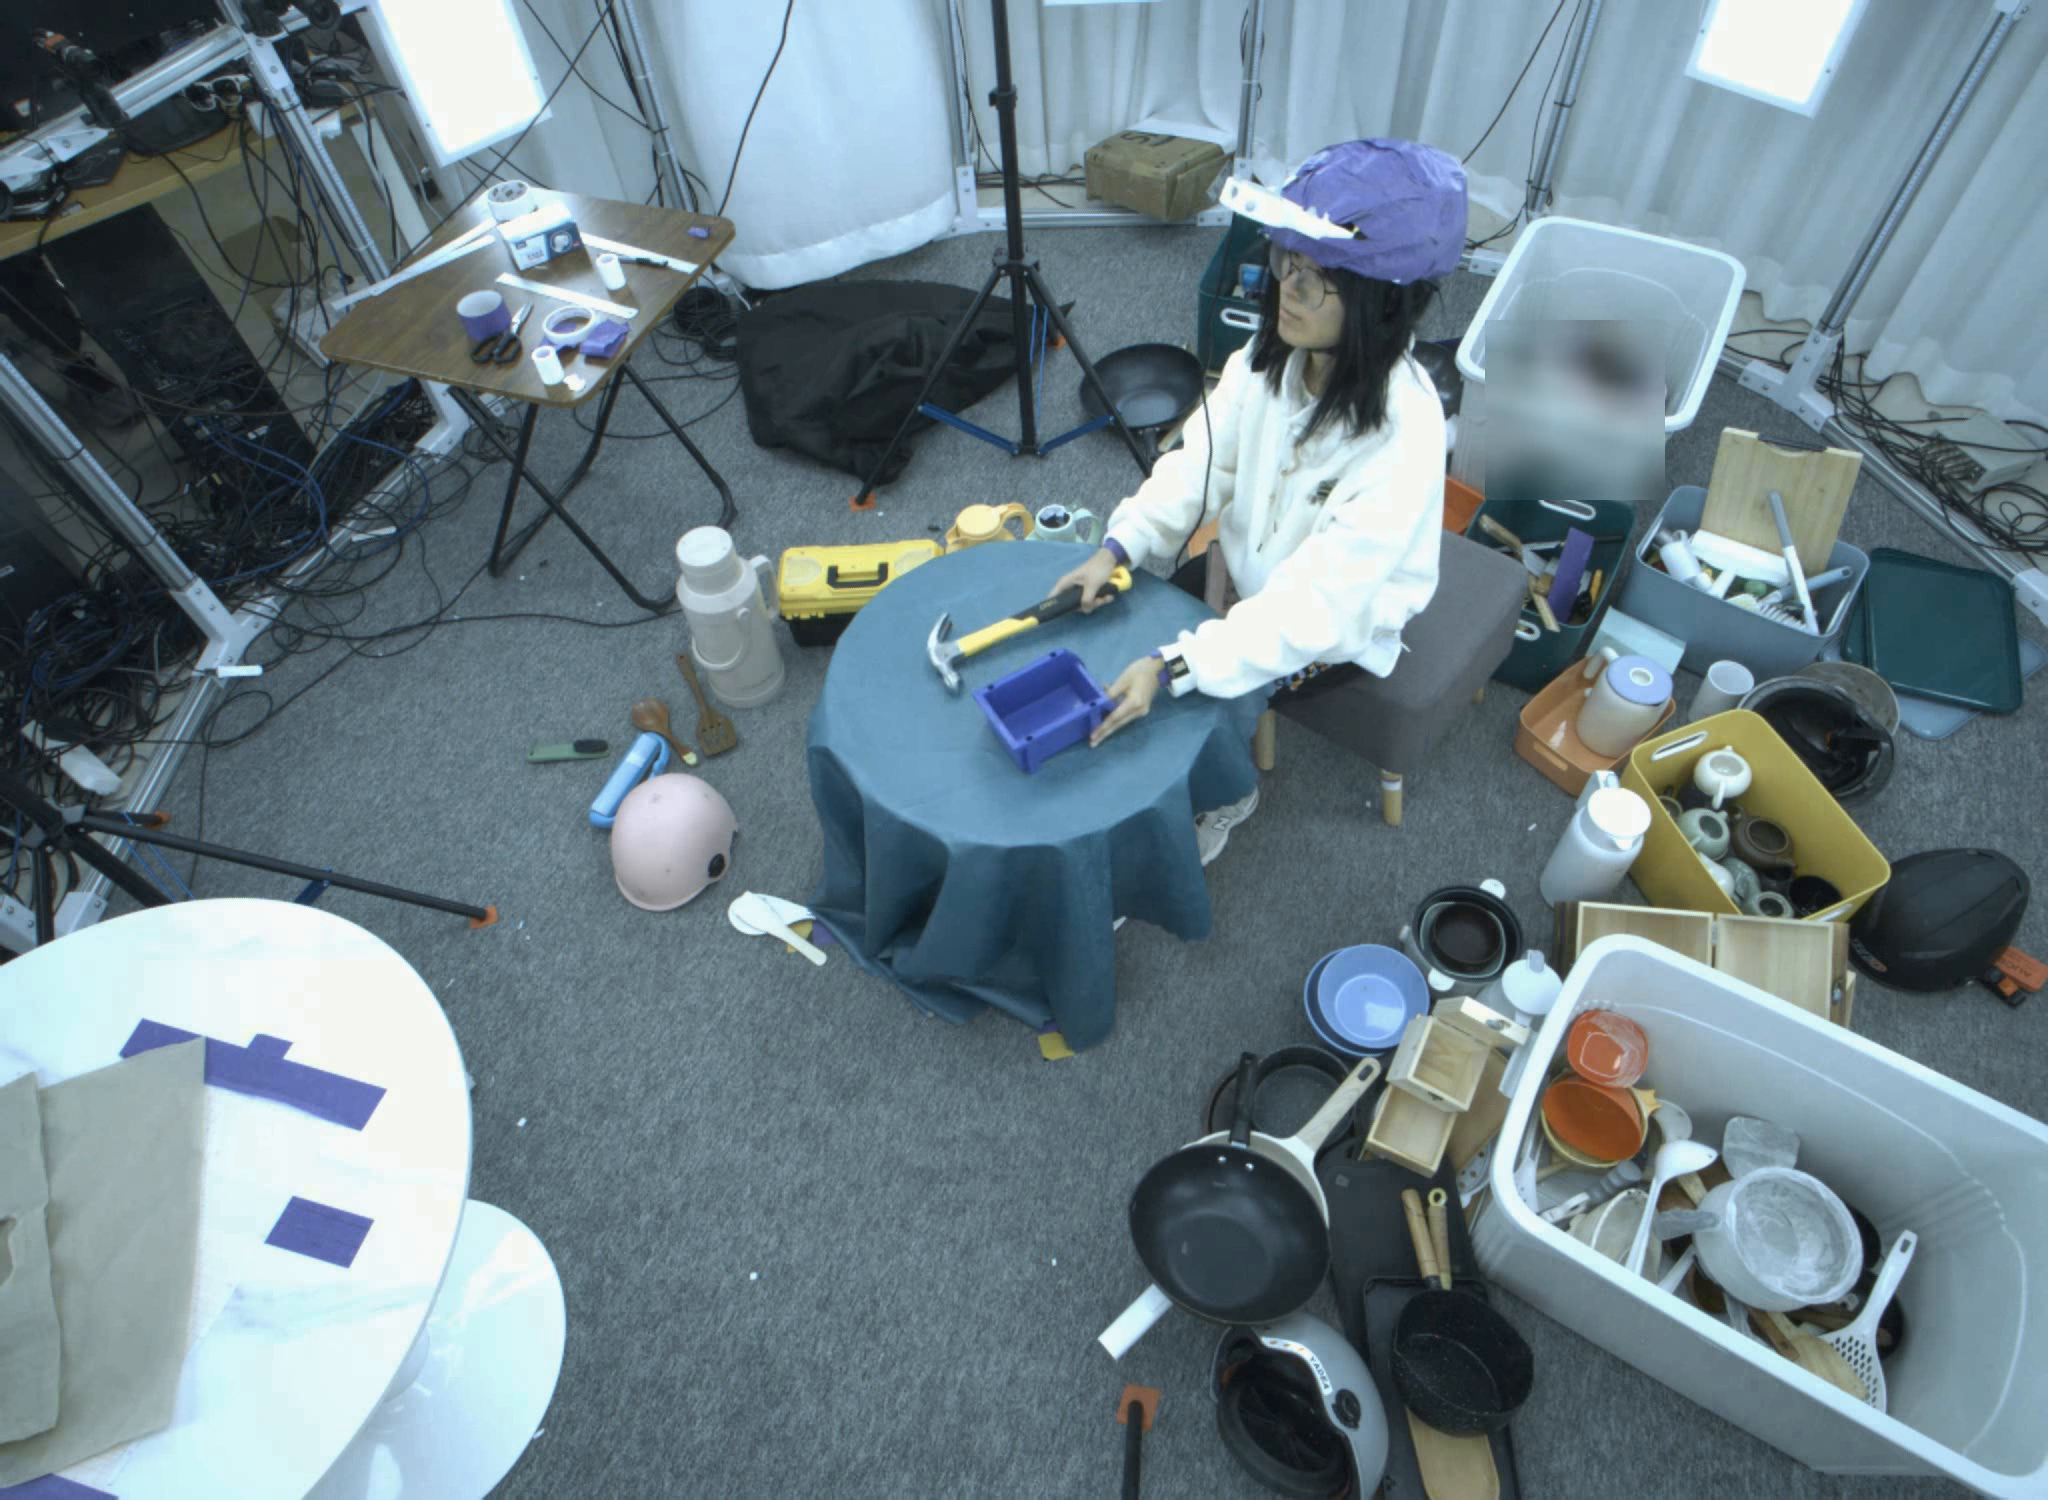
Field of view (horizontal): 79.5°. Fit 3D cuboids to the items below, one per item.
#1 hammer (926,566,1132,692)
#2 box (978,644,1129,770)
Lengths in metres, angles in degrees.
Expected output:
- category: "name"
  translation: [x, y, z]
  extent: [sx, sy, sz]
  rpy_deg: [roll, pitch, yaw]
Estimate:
- category: "hammer"
  translation: [0.009, -0.205, 1.893]
  extent: [0.340, 0.033, 0.129]
  rpy_deg: [-24, 56, -7]
- category: "box"
  translation: [0.043, -0.066, 1.778]
  extent: [0.180, 0.083, 0.122]
  rpy_deg: [-29, 59, -12]
